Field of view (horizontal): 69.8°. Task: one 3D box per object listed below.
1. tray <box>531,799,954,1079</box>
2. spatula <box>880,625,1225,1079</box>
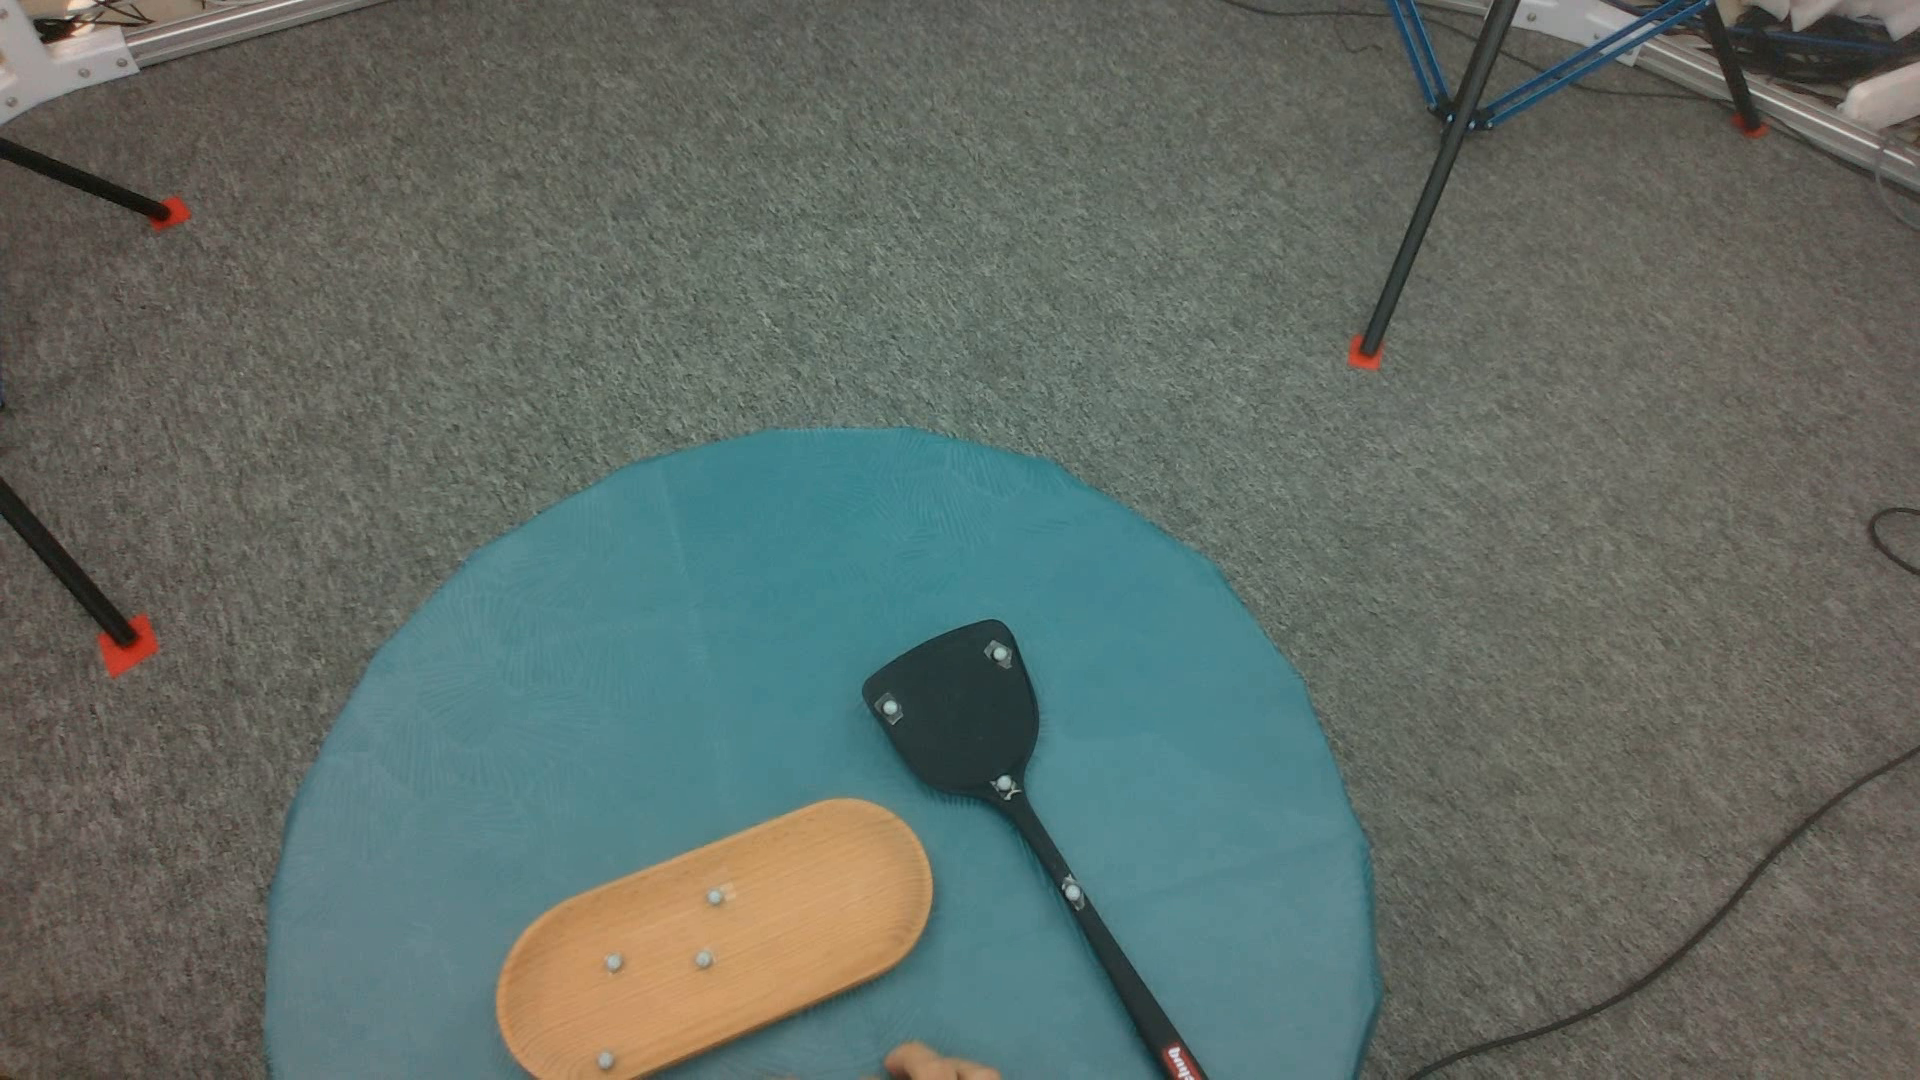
[{"bbox_3d":[-0.114,0.213,0.743,0.231,0.020,0.102,-18,59,-15],"label":"tray"},{"bbox_3d":[0.070,0.192,0.753,0.100,0.040,0.327,-25,60,-17],"label":"spatula"}]
